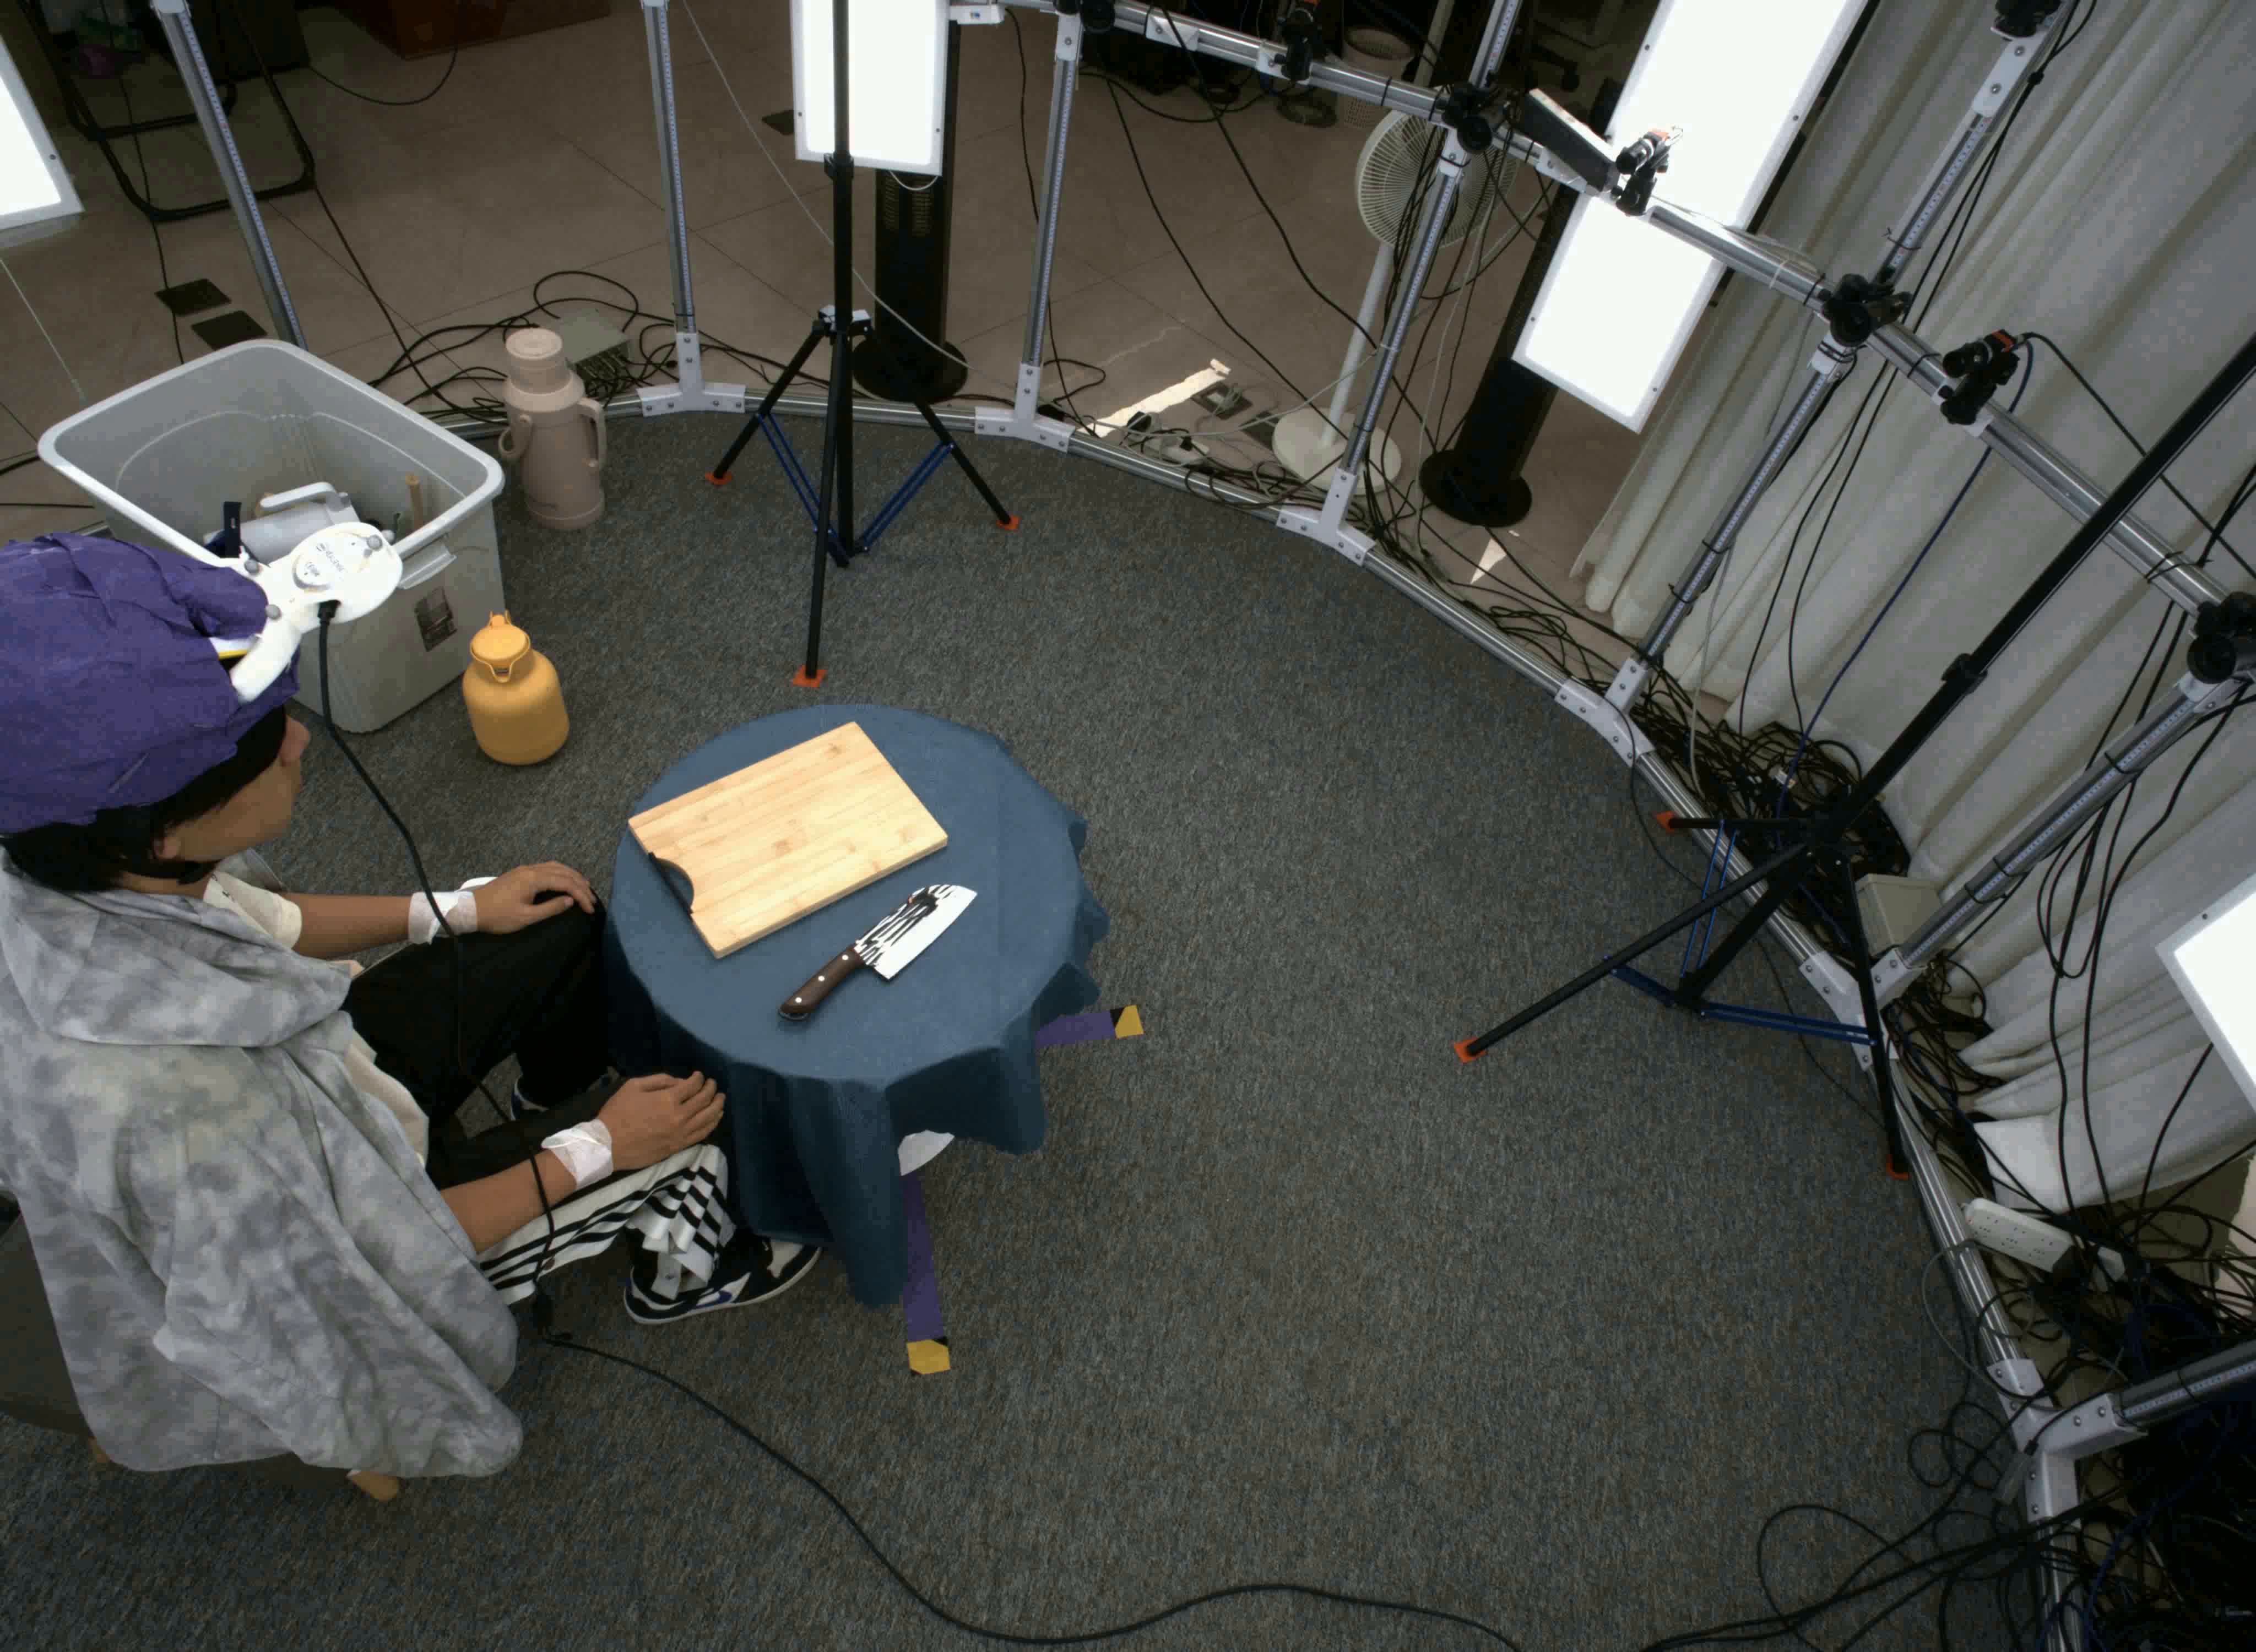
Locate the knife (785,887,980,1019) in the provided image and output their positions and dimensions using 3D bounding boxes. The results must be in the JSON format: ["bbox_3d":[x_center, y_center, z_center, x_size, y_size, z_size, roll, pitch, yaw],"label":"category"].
[{"bbox_3d":[-0.301,0.155,1.629,0.067,0.024,0.300,38,52,13],"label":"knife"}]

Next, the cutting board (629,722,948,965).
[{"bbox_3d":[-0.442,0.011,1.703,0.350,0.024,0.244,-29,65,-30],"label":"cutting board"}]
